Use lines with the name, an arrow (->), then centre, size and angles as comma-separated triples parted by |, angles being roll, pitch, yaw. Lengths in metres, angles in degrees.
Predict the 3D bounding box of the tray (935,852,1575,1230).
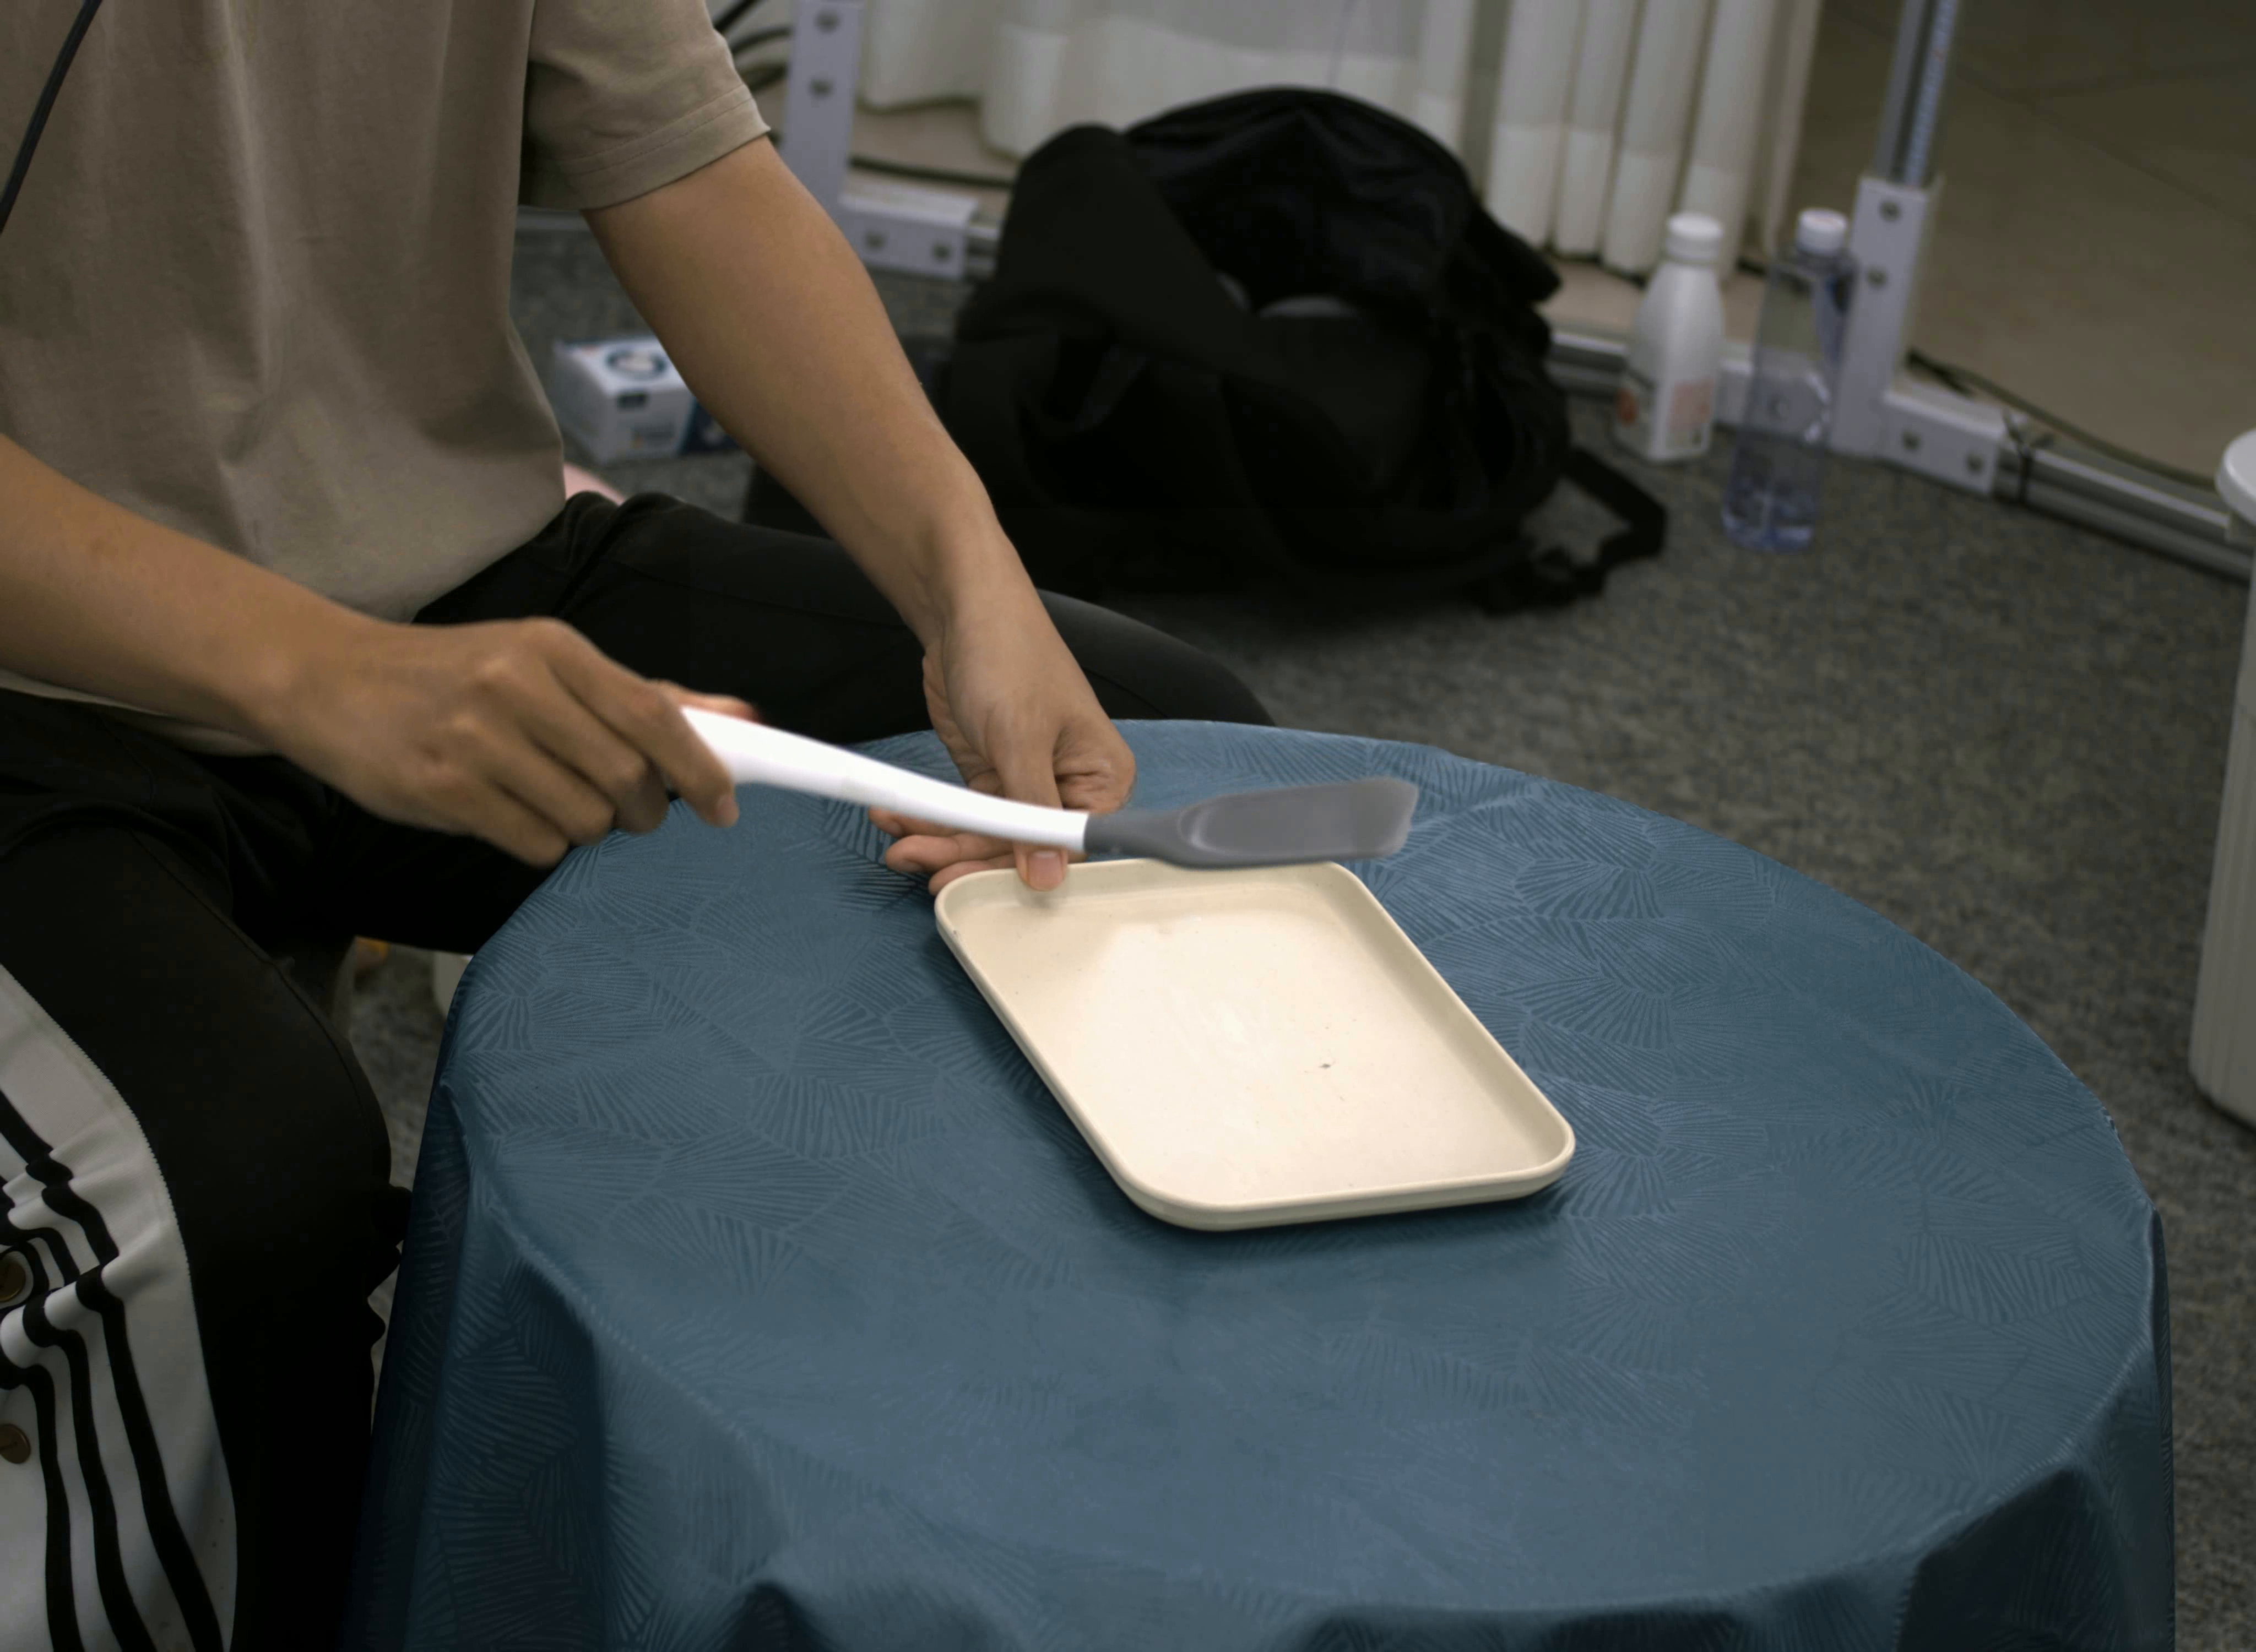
tray -> 0.041, 0.074, 1.890 | 0.170, 0.017, 0.242 | -4, 29, -22

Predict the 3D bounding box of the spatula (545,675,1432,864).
spatula -> -0.046, -0.015, 1.719 | 0.287, 0.032, 0.059 | 8, 25, 8
